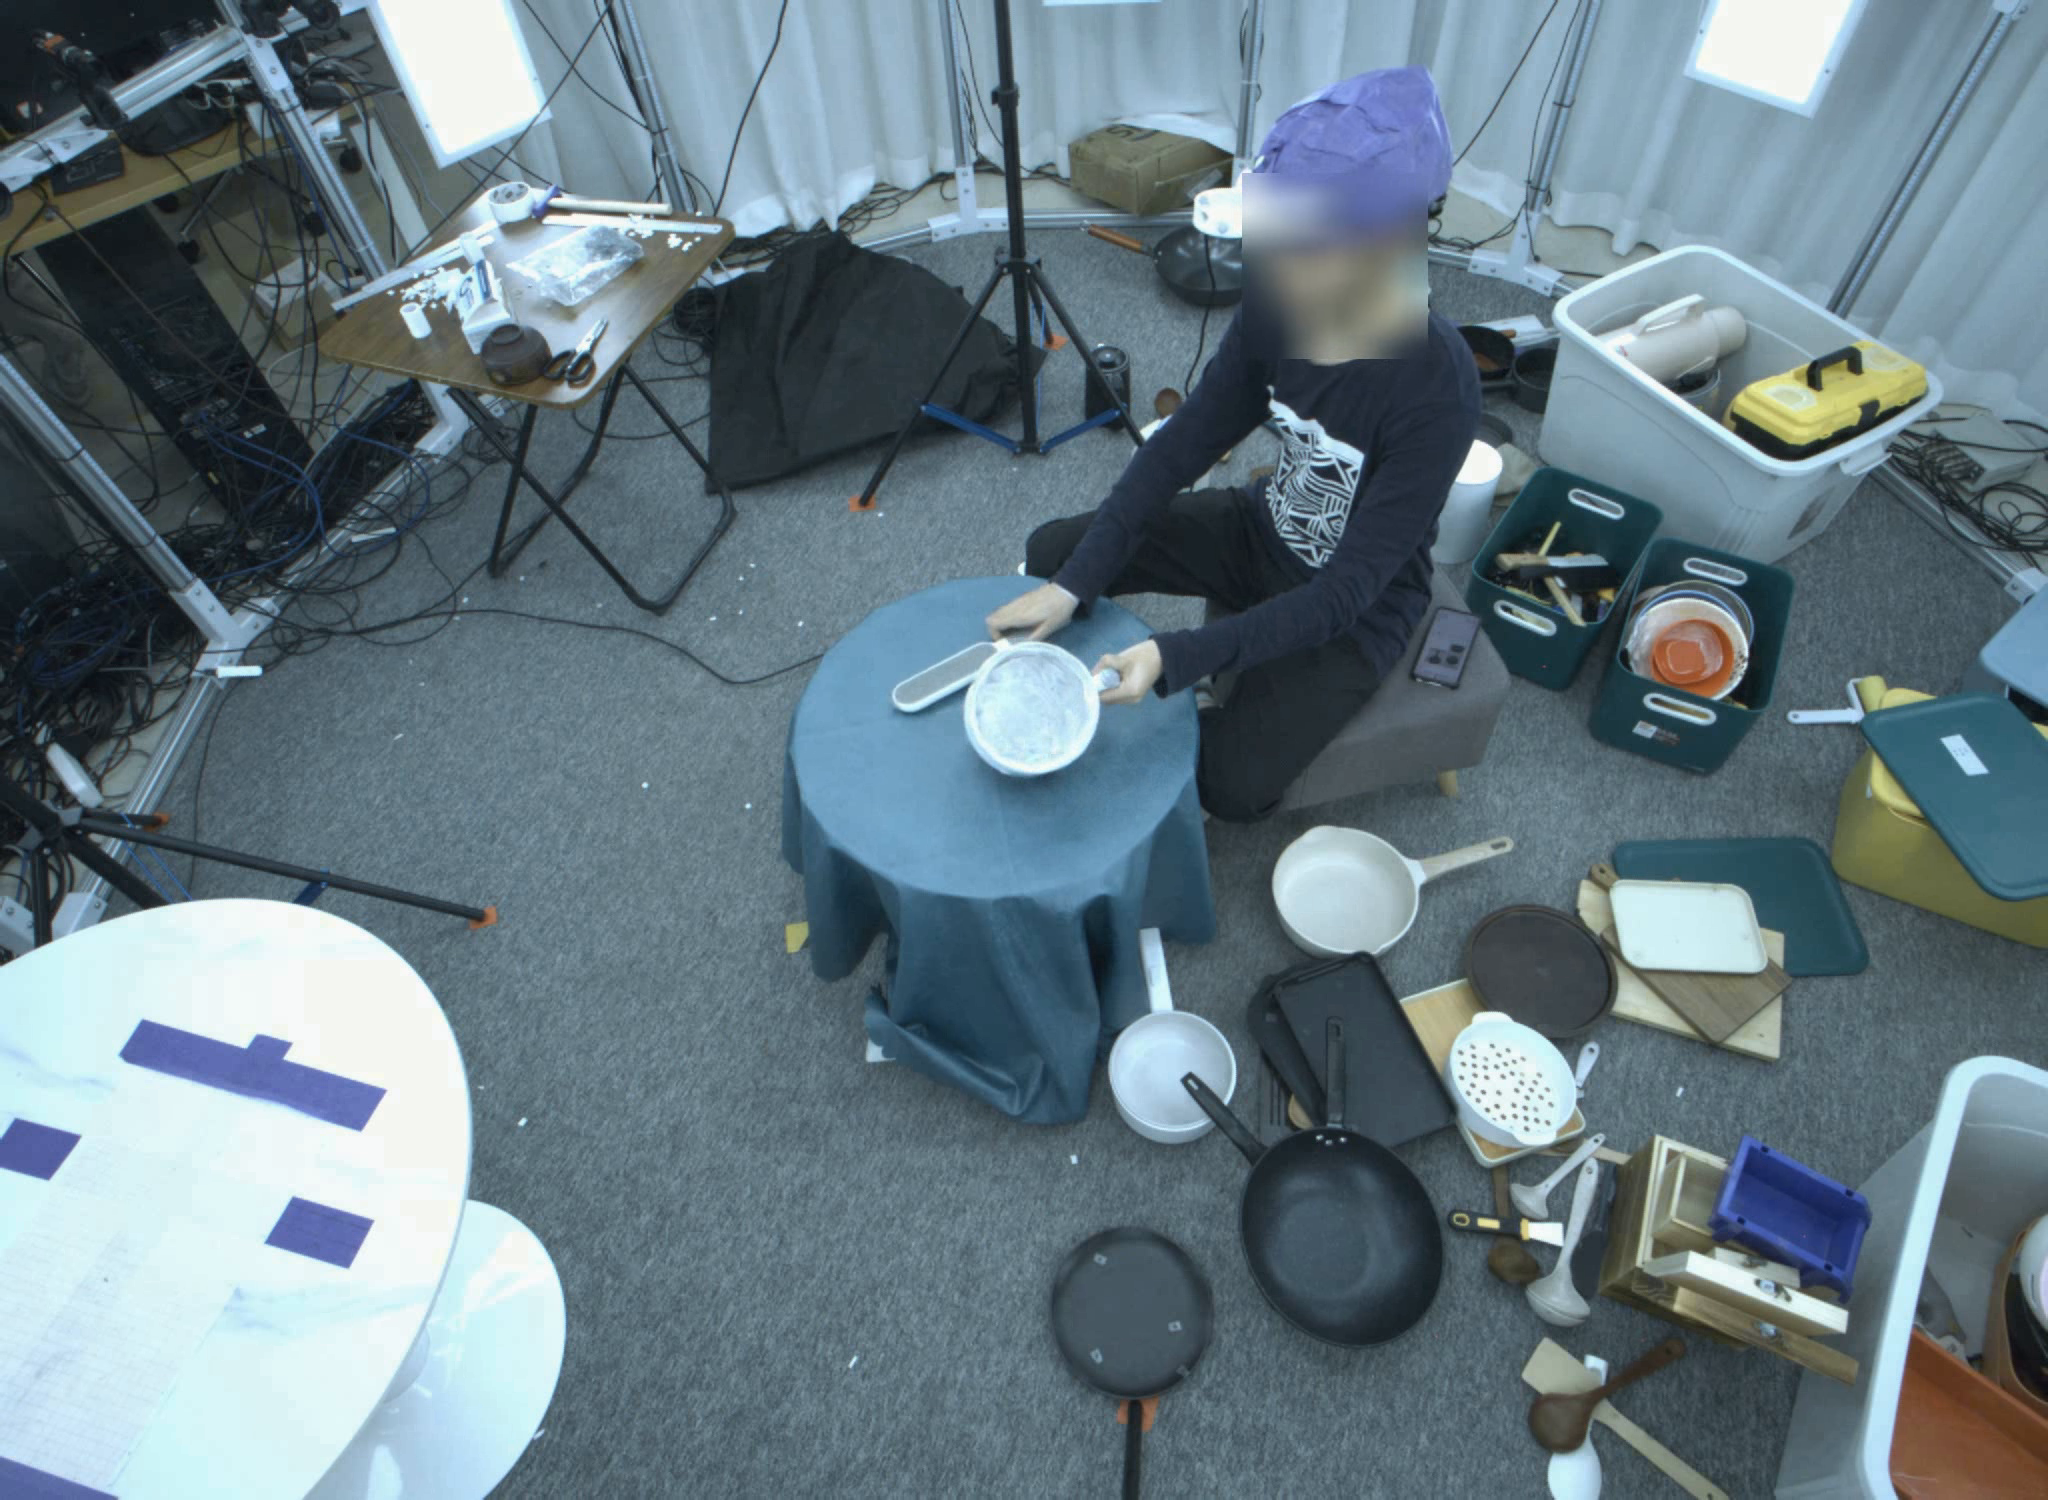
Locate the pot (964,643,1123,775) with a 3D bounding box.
[{"bbox_3d":[0.032,-0.064,1.711,0.235,0.136,0.179,-22,92,-8],"label":"pot"}]

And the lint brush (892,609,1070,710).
[{"bbox_3d":[-0.062,-0.141,1.872,0.311,0.021,0.059,-28,46,-15],"label":"lint brush"}]
